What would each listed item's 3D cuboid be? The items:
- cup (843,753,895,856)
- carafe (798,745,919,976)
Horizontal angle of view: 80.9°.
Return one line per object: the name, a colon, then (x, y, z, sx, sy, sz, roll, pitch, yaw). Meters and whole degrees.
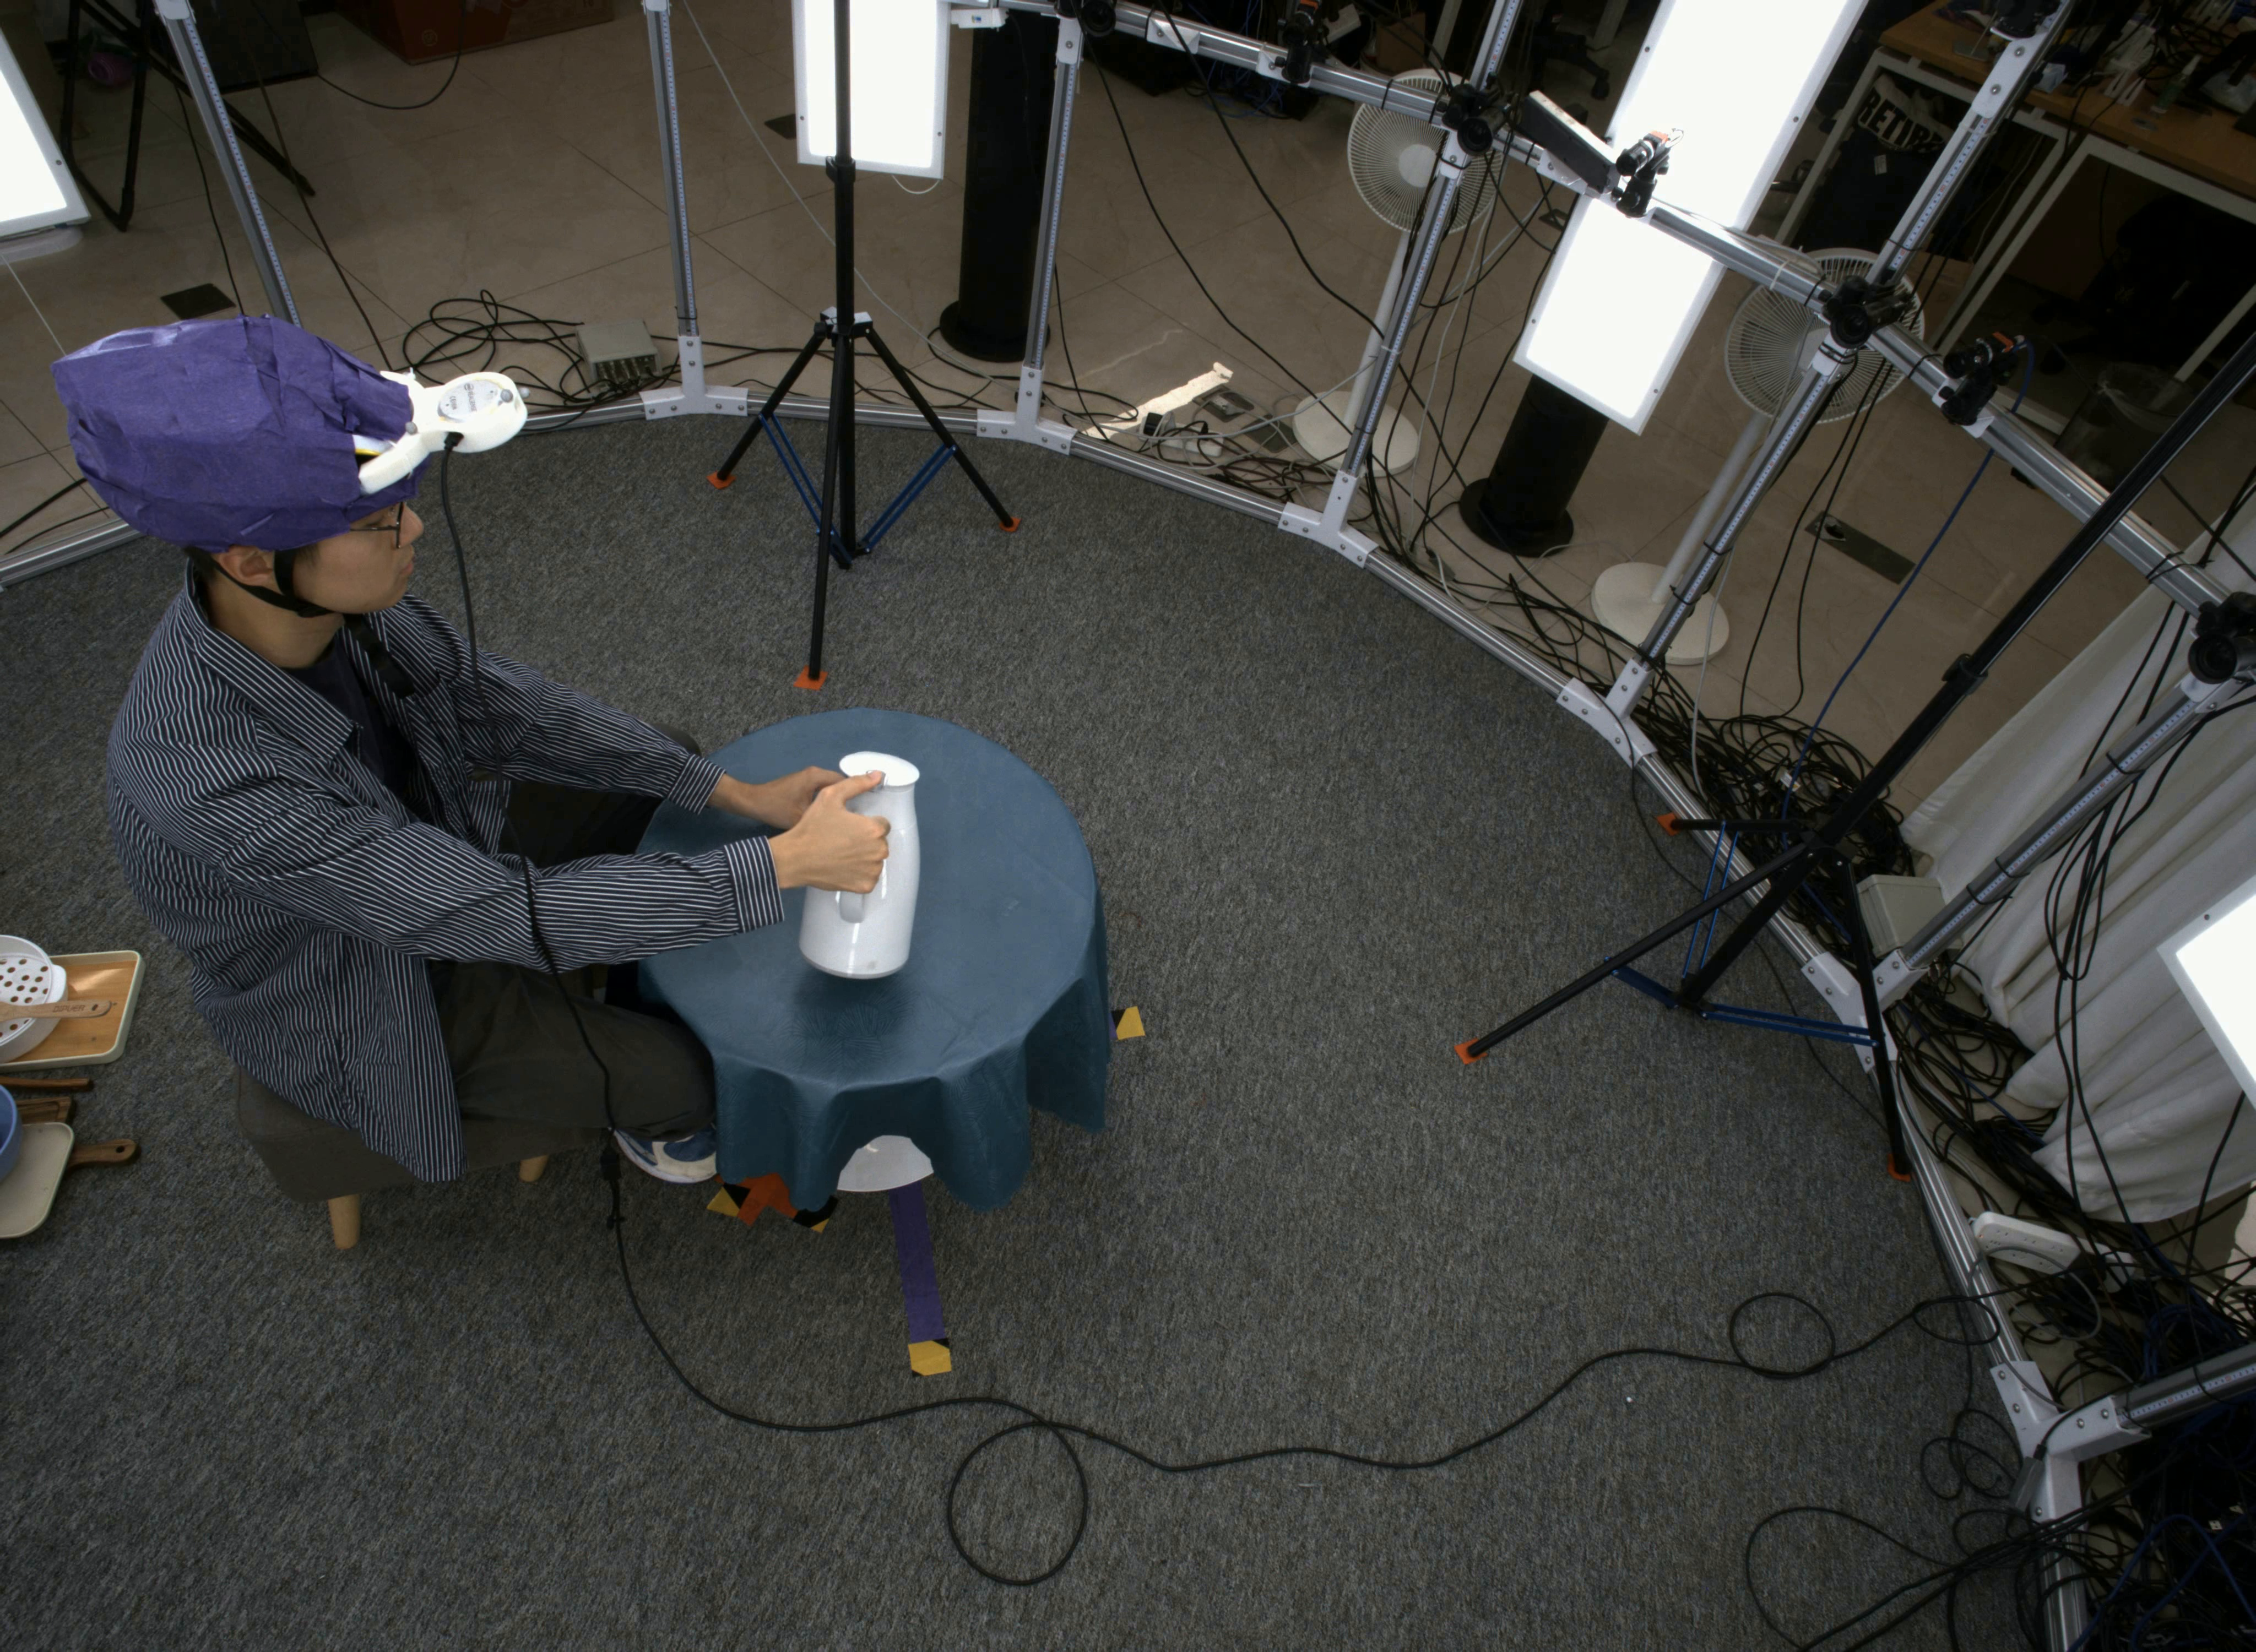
cup: (-0.334, -0.027, 1.663, 0.066, 0.135, 0.065, 8, 52, -9)
carafe: (-0.306, 0.041, 1.505, 0.132, 0.254, 0.164, 10, 24, -8)
